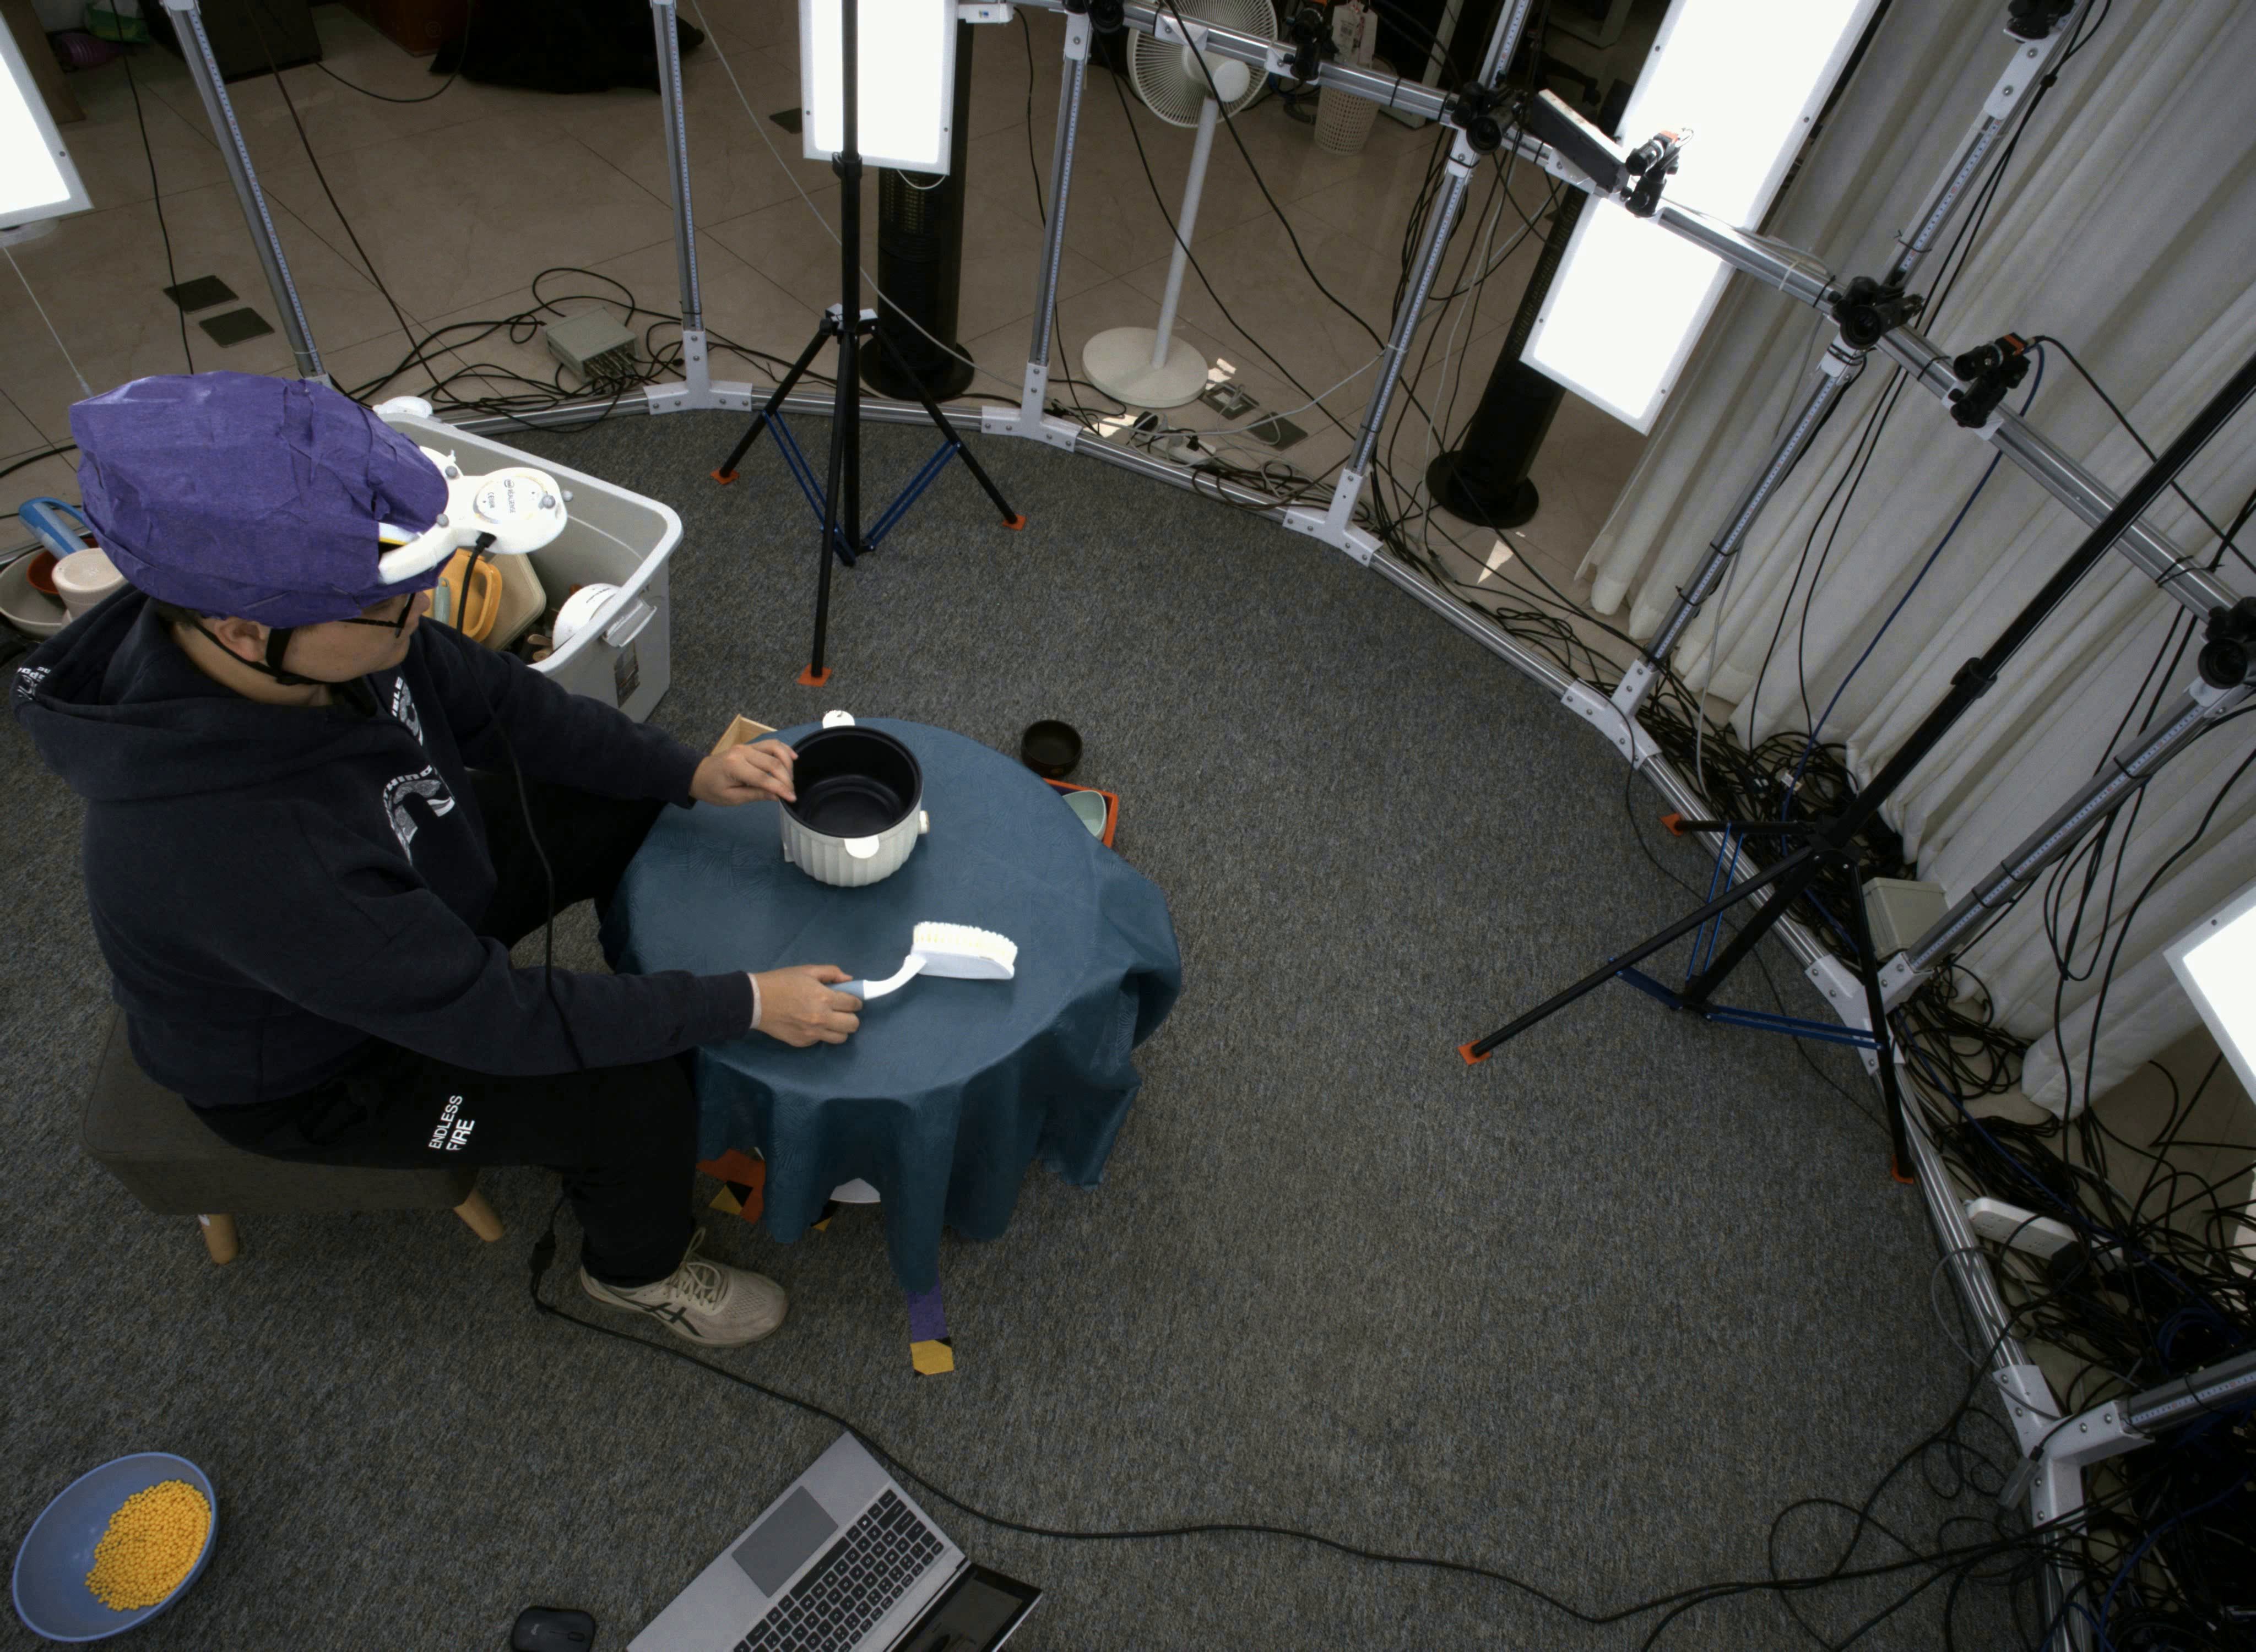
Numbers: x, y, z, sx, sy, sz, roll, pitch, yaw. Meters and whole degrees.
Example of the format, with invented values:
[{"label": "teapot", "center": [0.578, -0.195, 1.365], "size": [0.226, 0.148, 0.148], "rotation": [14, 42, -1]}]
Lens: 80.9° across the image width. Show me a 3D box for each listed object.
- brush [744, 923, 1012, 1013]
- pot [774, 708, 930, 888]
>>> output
[{"label": "brush", "center": [-0.303, 0.161, 1.583], "size": [0.325, 0.085, 0.082], "rotation": [-4, 18, -14]}, {"label": "pot", "center": [-0.351, -0.022, 1.665], "size": [0.191, 0.146, 0.235], "rotation": [-10, 57, -16]}]
